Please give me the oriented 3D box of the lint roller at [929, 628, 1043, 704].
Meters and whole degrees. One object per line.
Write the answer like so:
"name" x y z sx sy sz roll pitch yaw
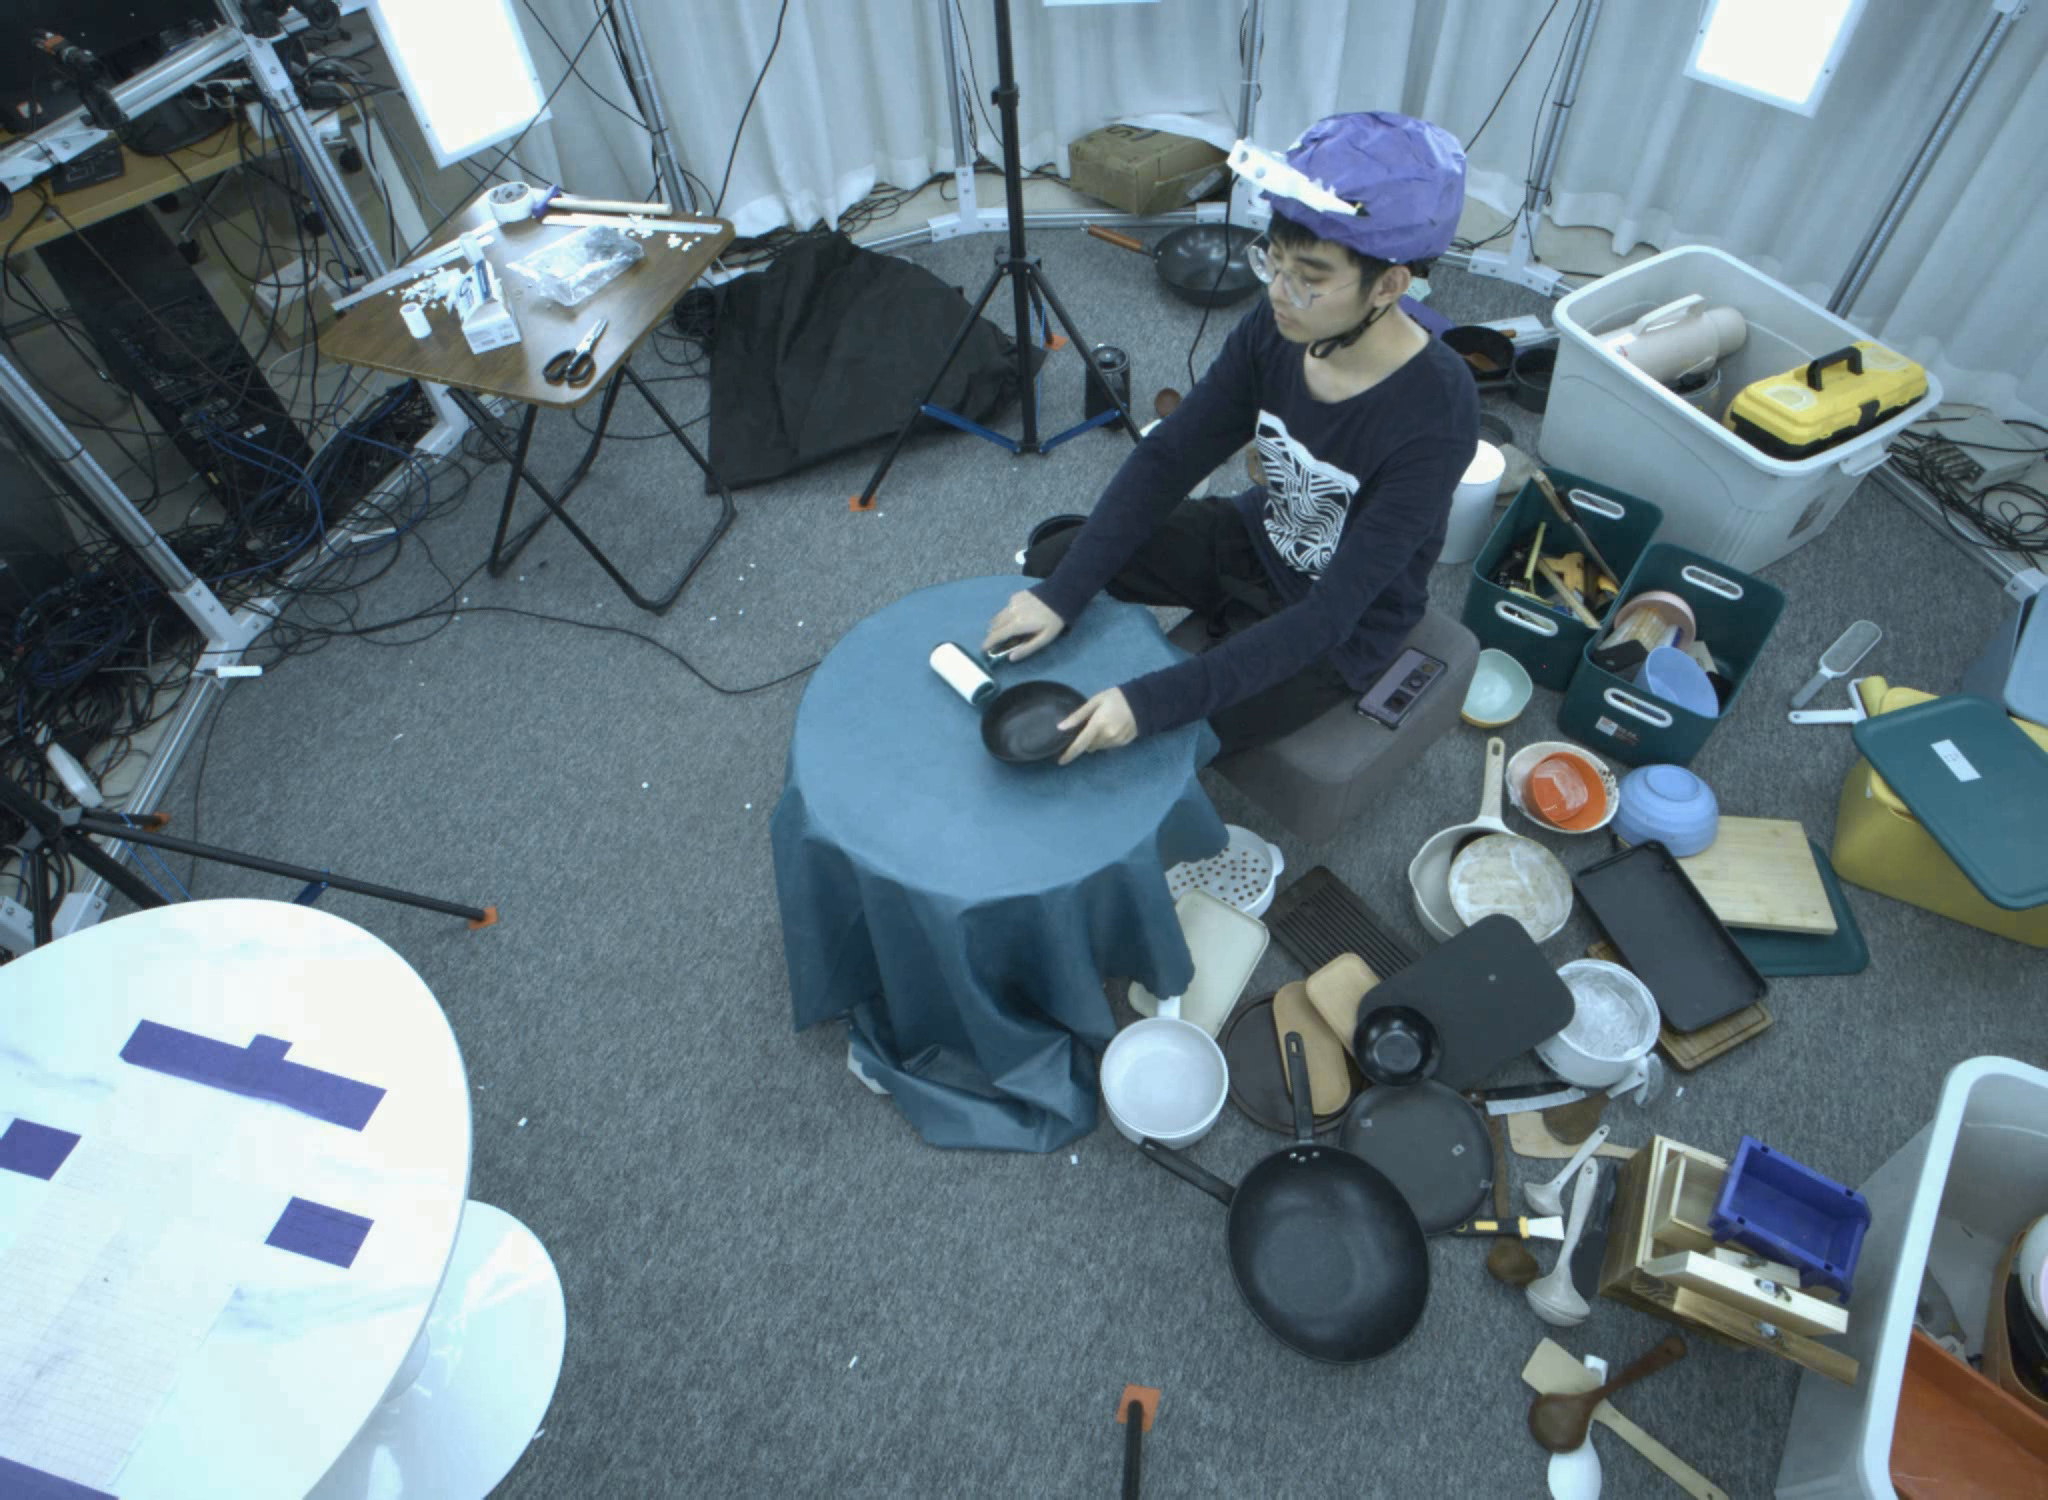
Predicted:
"lint roller" -0.043 -0.151 1.875 0.181 0.049 0.132 -35 60 -22

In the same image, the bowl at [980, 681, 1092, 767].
"bowl" 0.017 -0.029 1.776 0.172 0.067 0.135 -30 59 -21
